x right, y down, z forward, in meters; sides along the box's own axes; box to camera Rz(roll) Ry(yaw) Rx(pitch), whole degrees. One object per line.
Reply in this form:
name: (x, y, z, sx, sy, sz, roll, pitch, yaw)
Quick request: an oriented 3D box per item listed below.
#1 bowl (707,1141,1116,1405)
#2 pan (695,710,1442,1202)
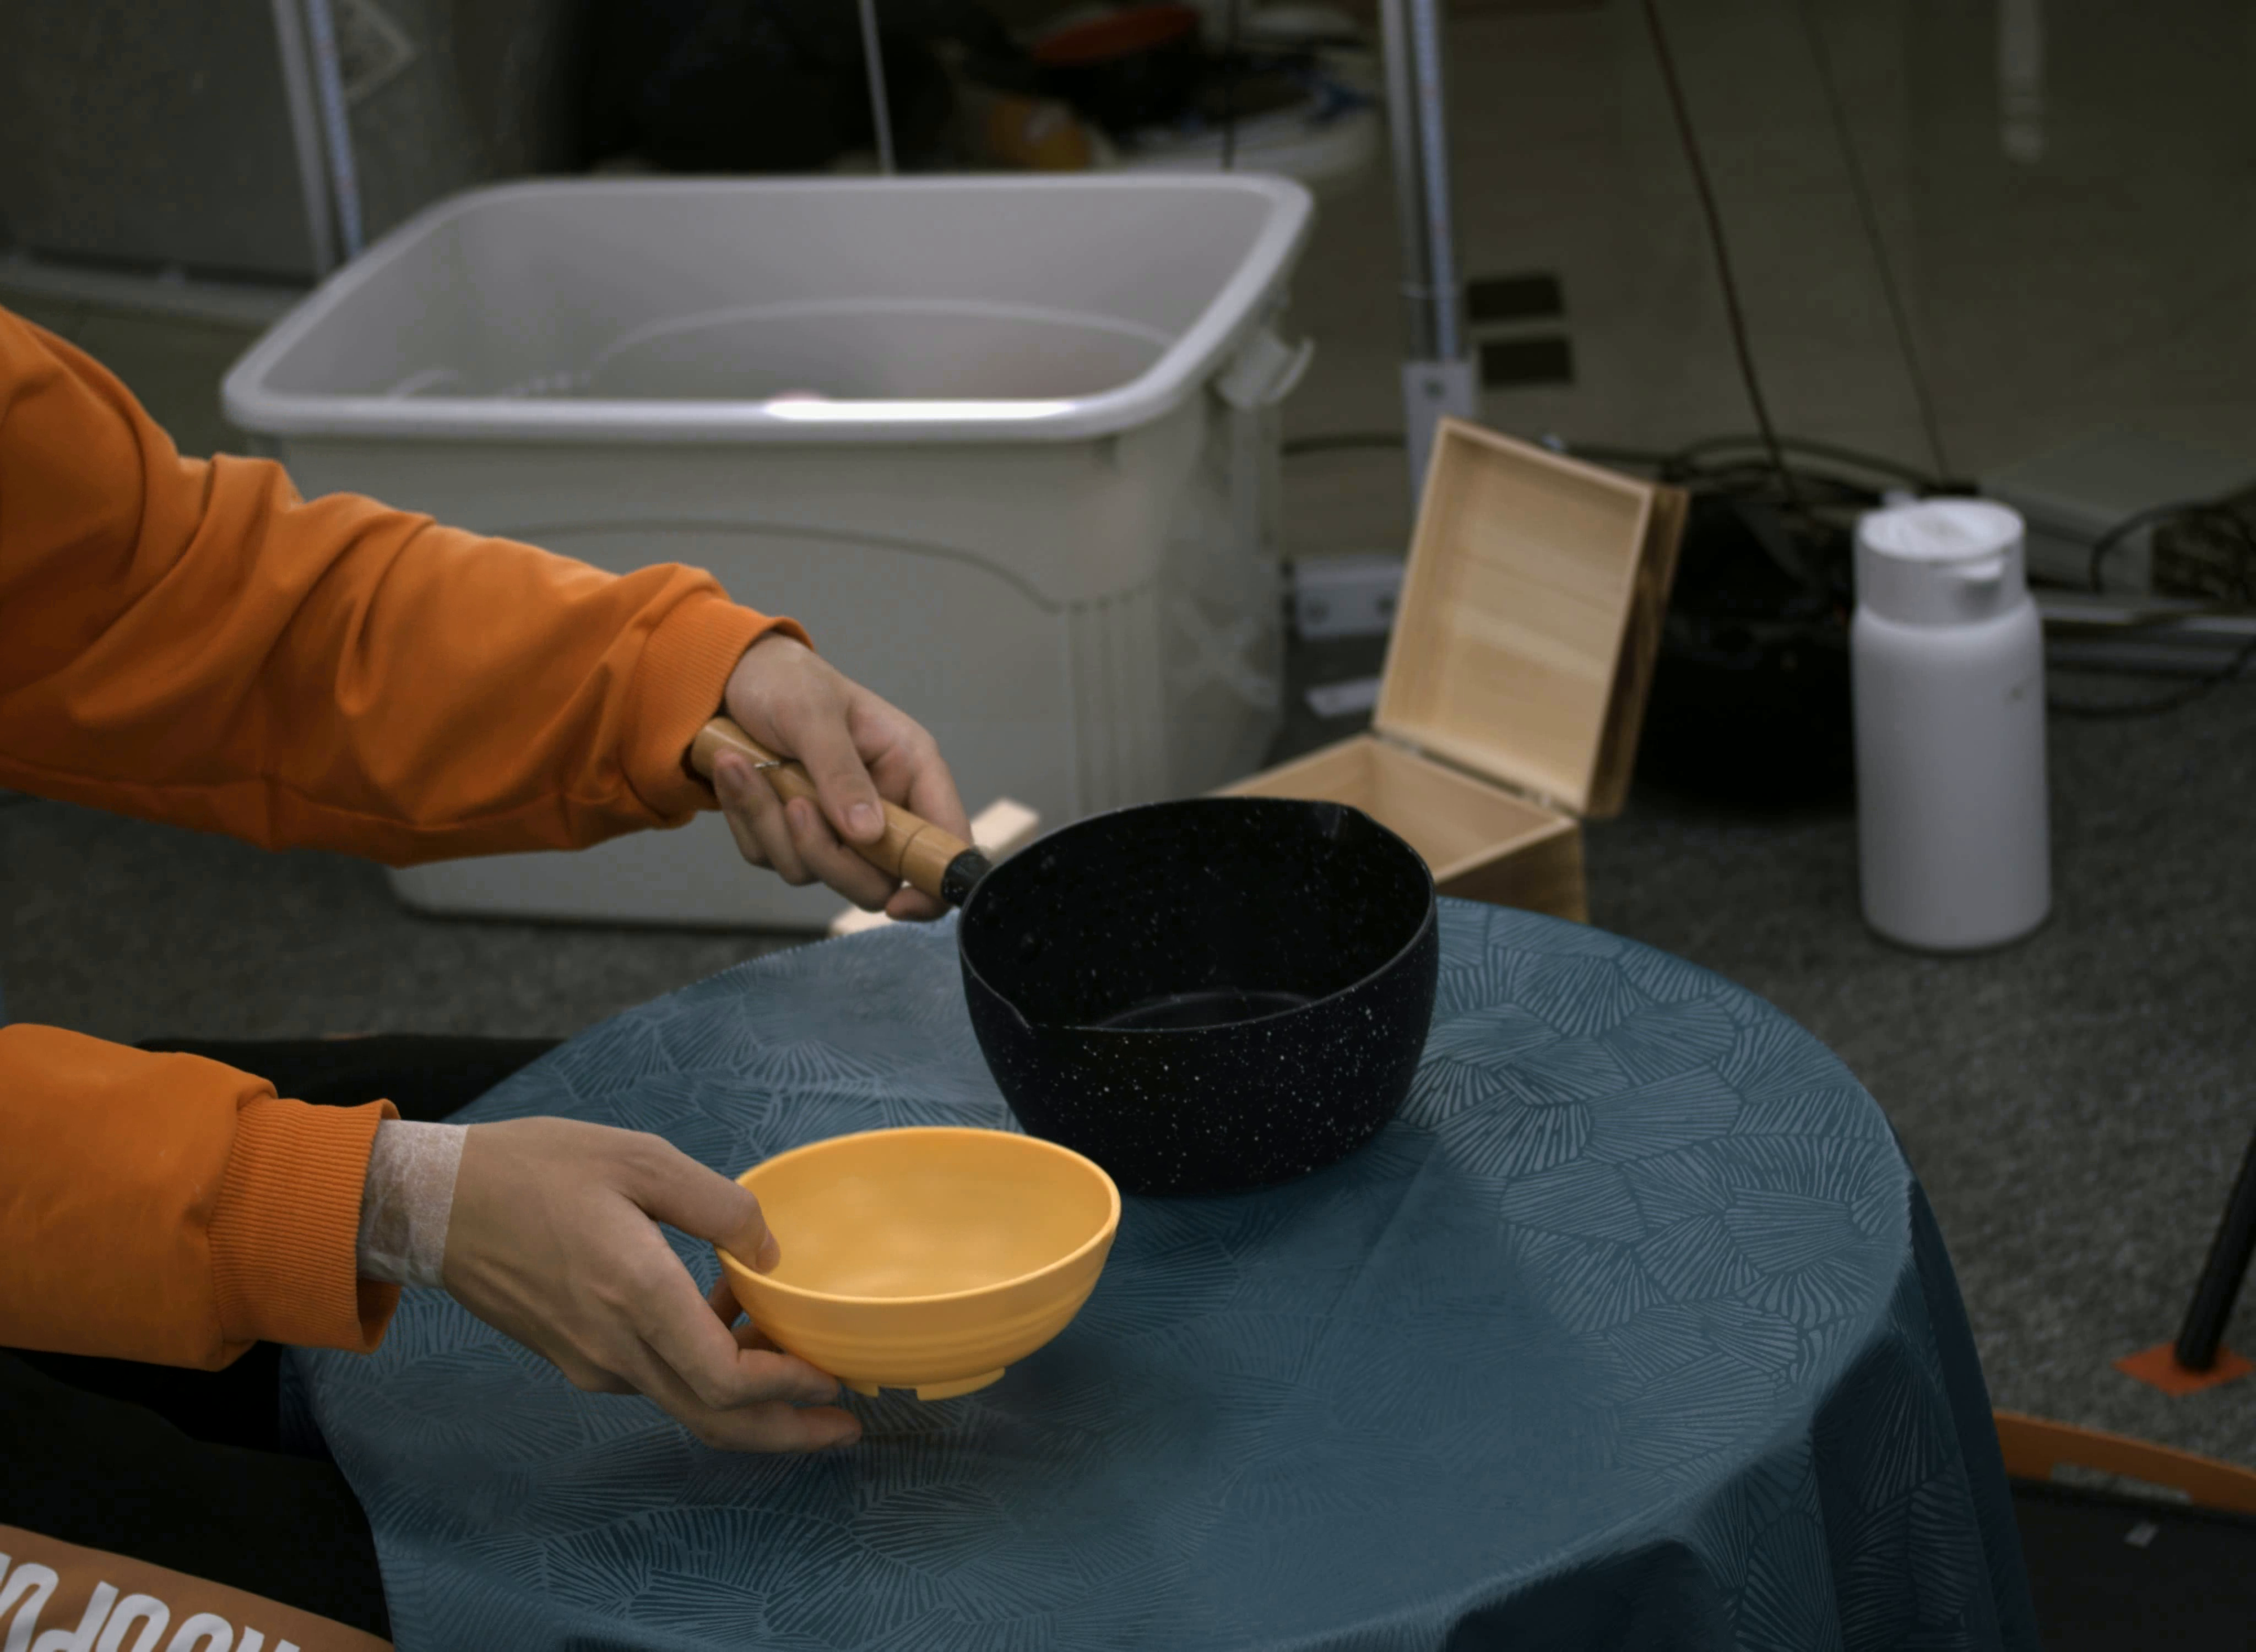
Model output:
bowl: (-0.075, 0.164, 1.997, 0.145, 0.061, 0.143, -3, 19, 1)
pan: (-0.034, 0.042, 2.215, 0.340, 0.110, 0.205, 16, 37, 33)
